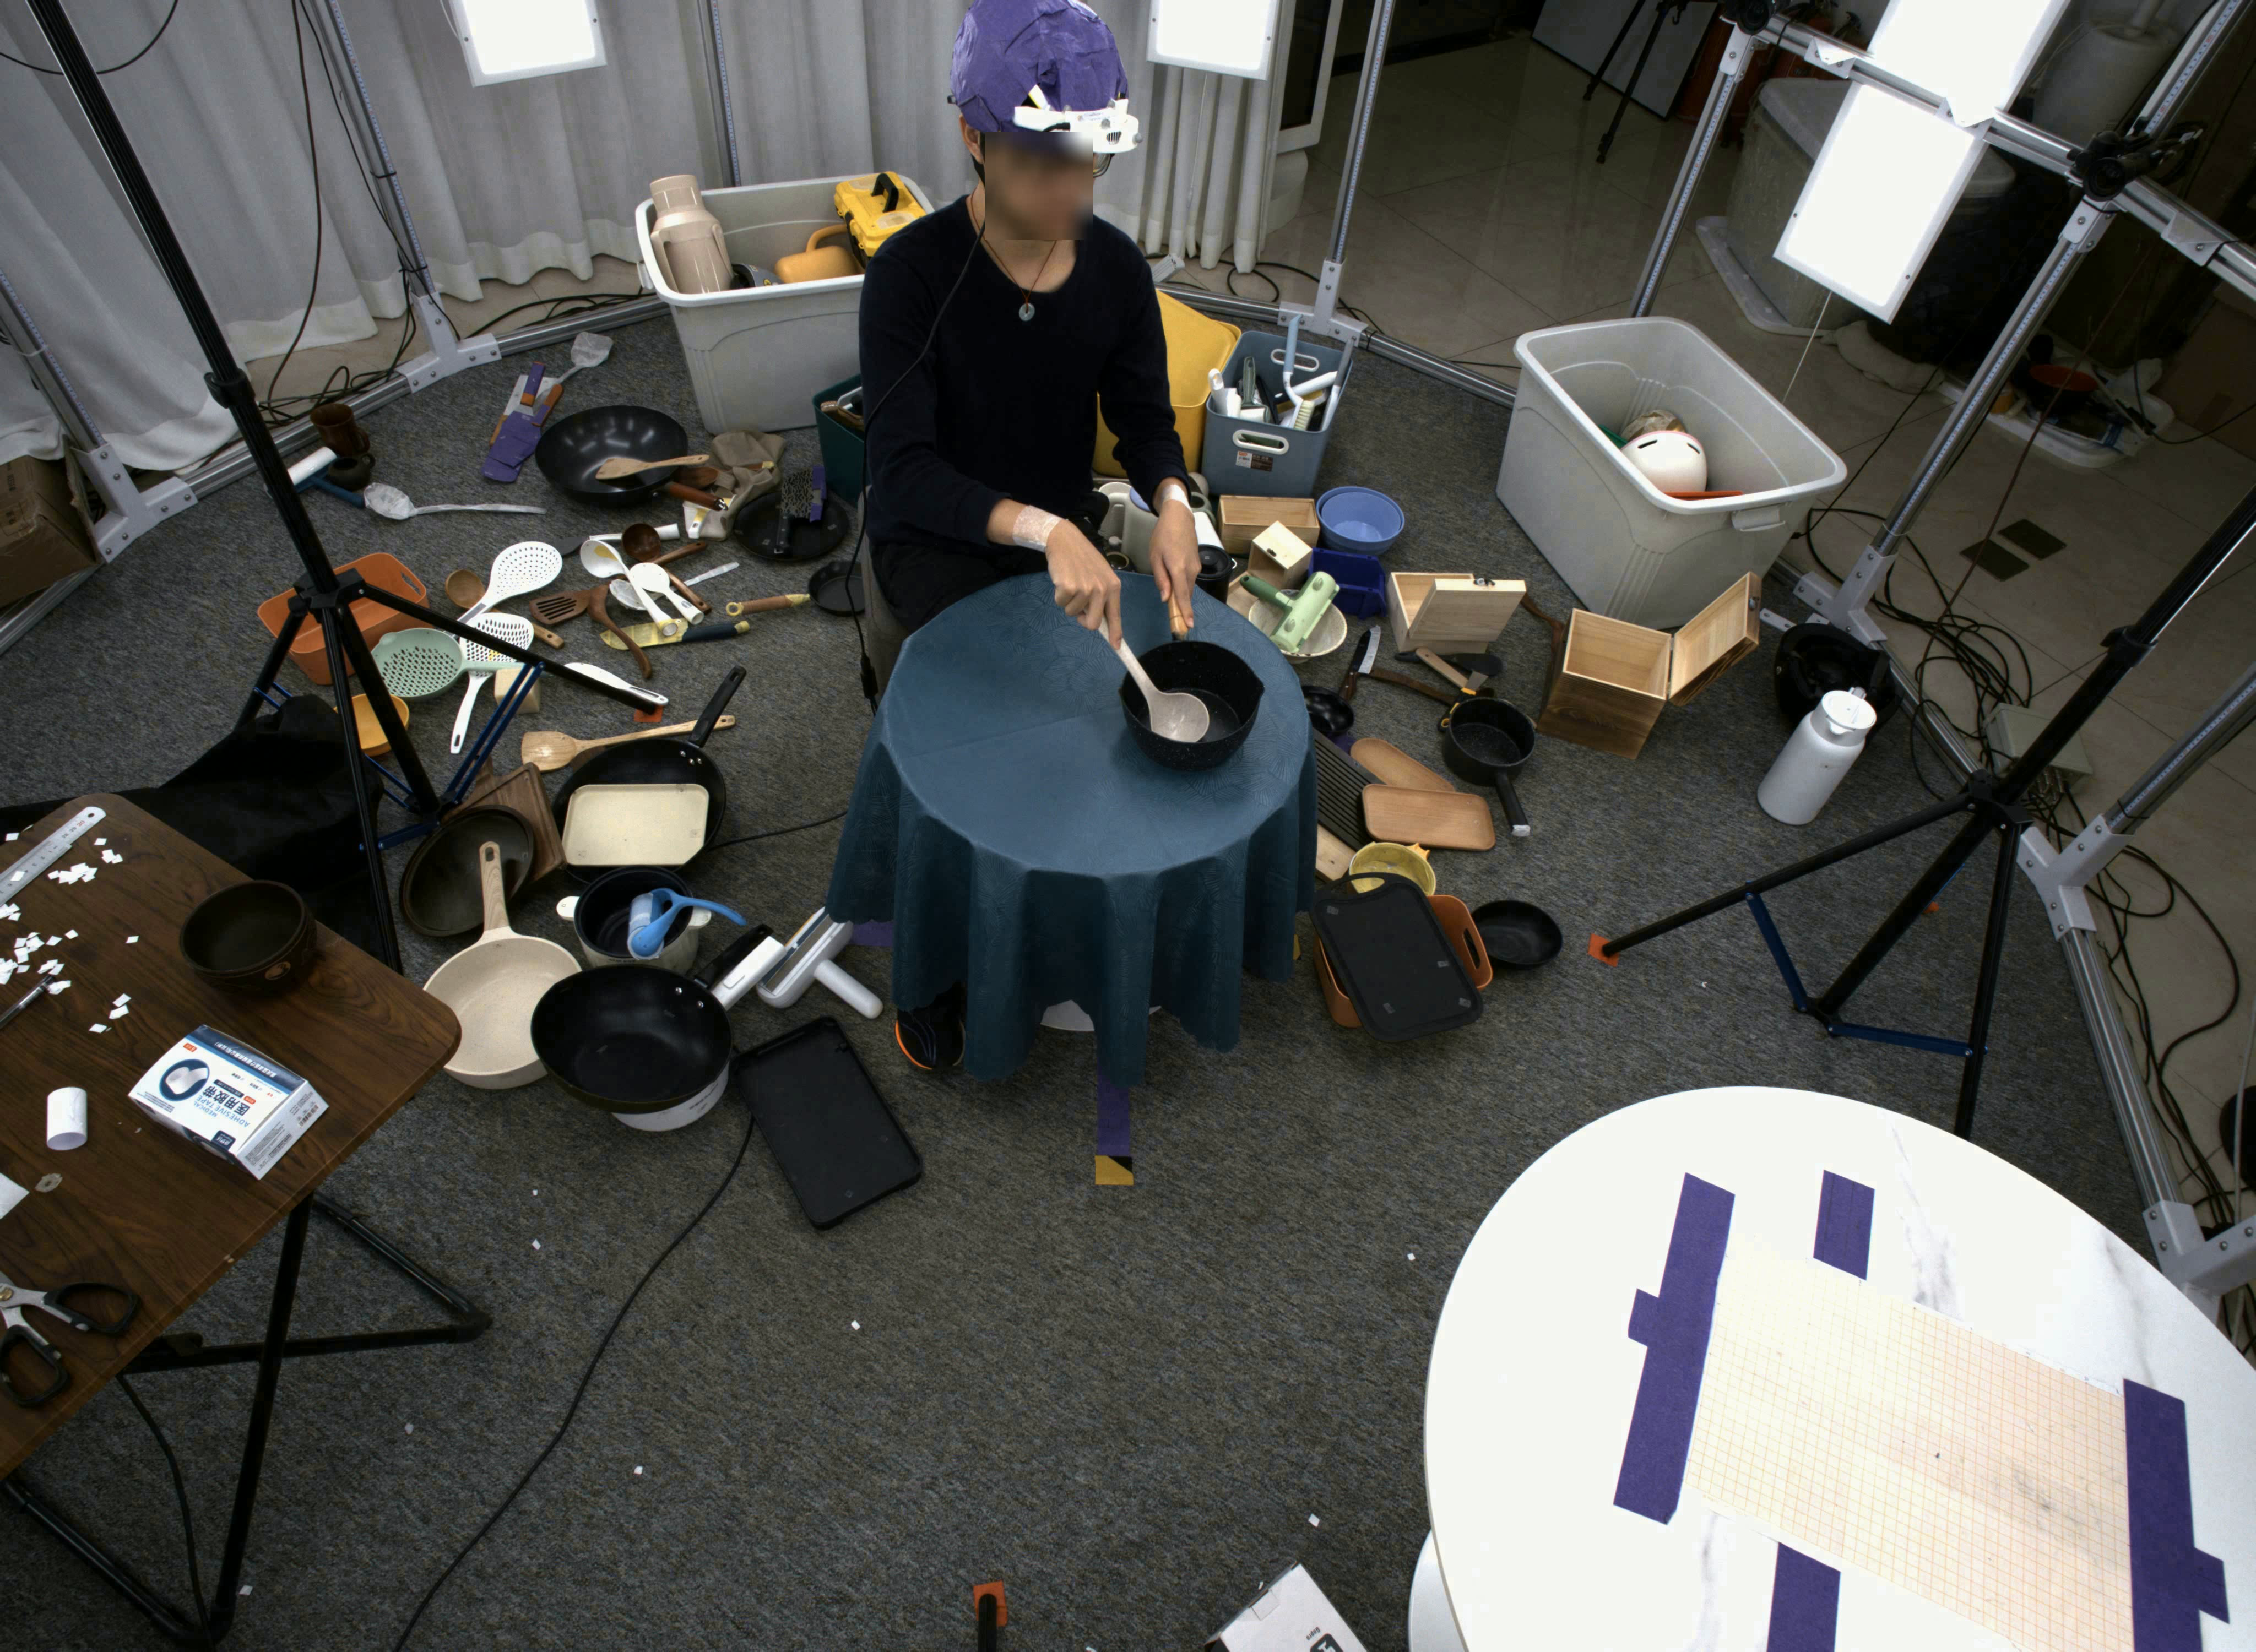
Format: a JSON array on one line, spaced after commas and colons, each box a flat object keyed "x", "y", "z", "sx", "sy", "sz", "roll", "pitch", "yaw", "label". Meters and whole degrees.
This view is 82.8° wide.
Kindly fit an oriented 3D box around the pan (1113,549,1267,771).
[{"x": 0.074, "y": -0.230, "z": 1.790, "sx": 0.207, "sy": 0.105, "sz": 0.351, "roll": -5, "pitch": 55, "yaw": -4, "label": "pan"}]

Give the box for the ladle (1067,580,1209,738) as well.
[{"x": 0.014, "y": -0.216, "z": 1.697, "sx": 0.090, "sy": 0.269, "sz": 0.070, "roll": -49, "pitch": 34, "yaw": -19, "label": "ladle"}]
